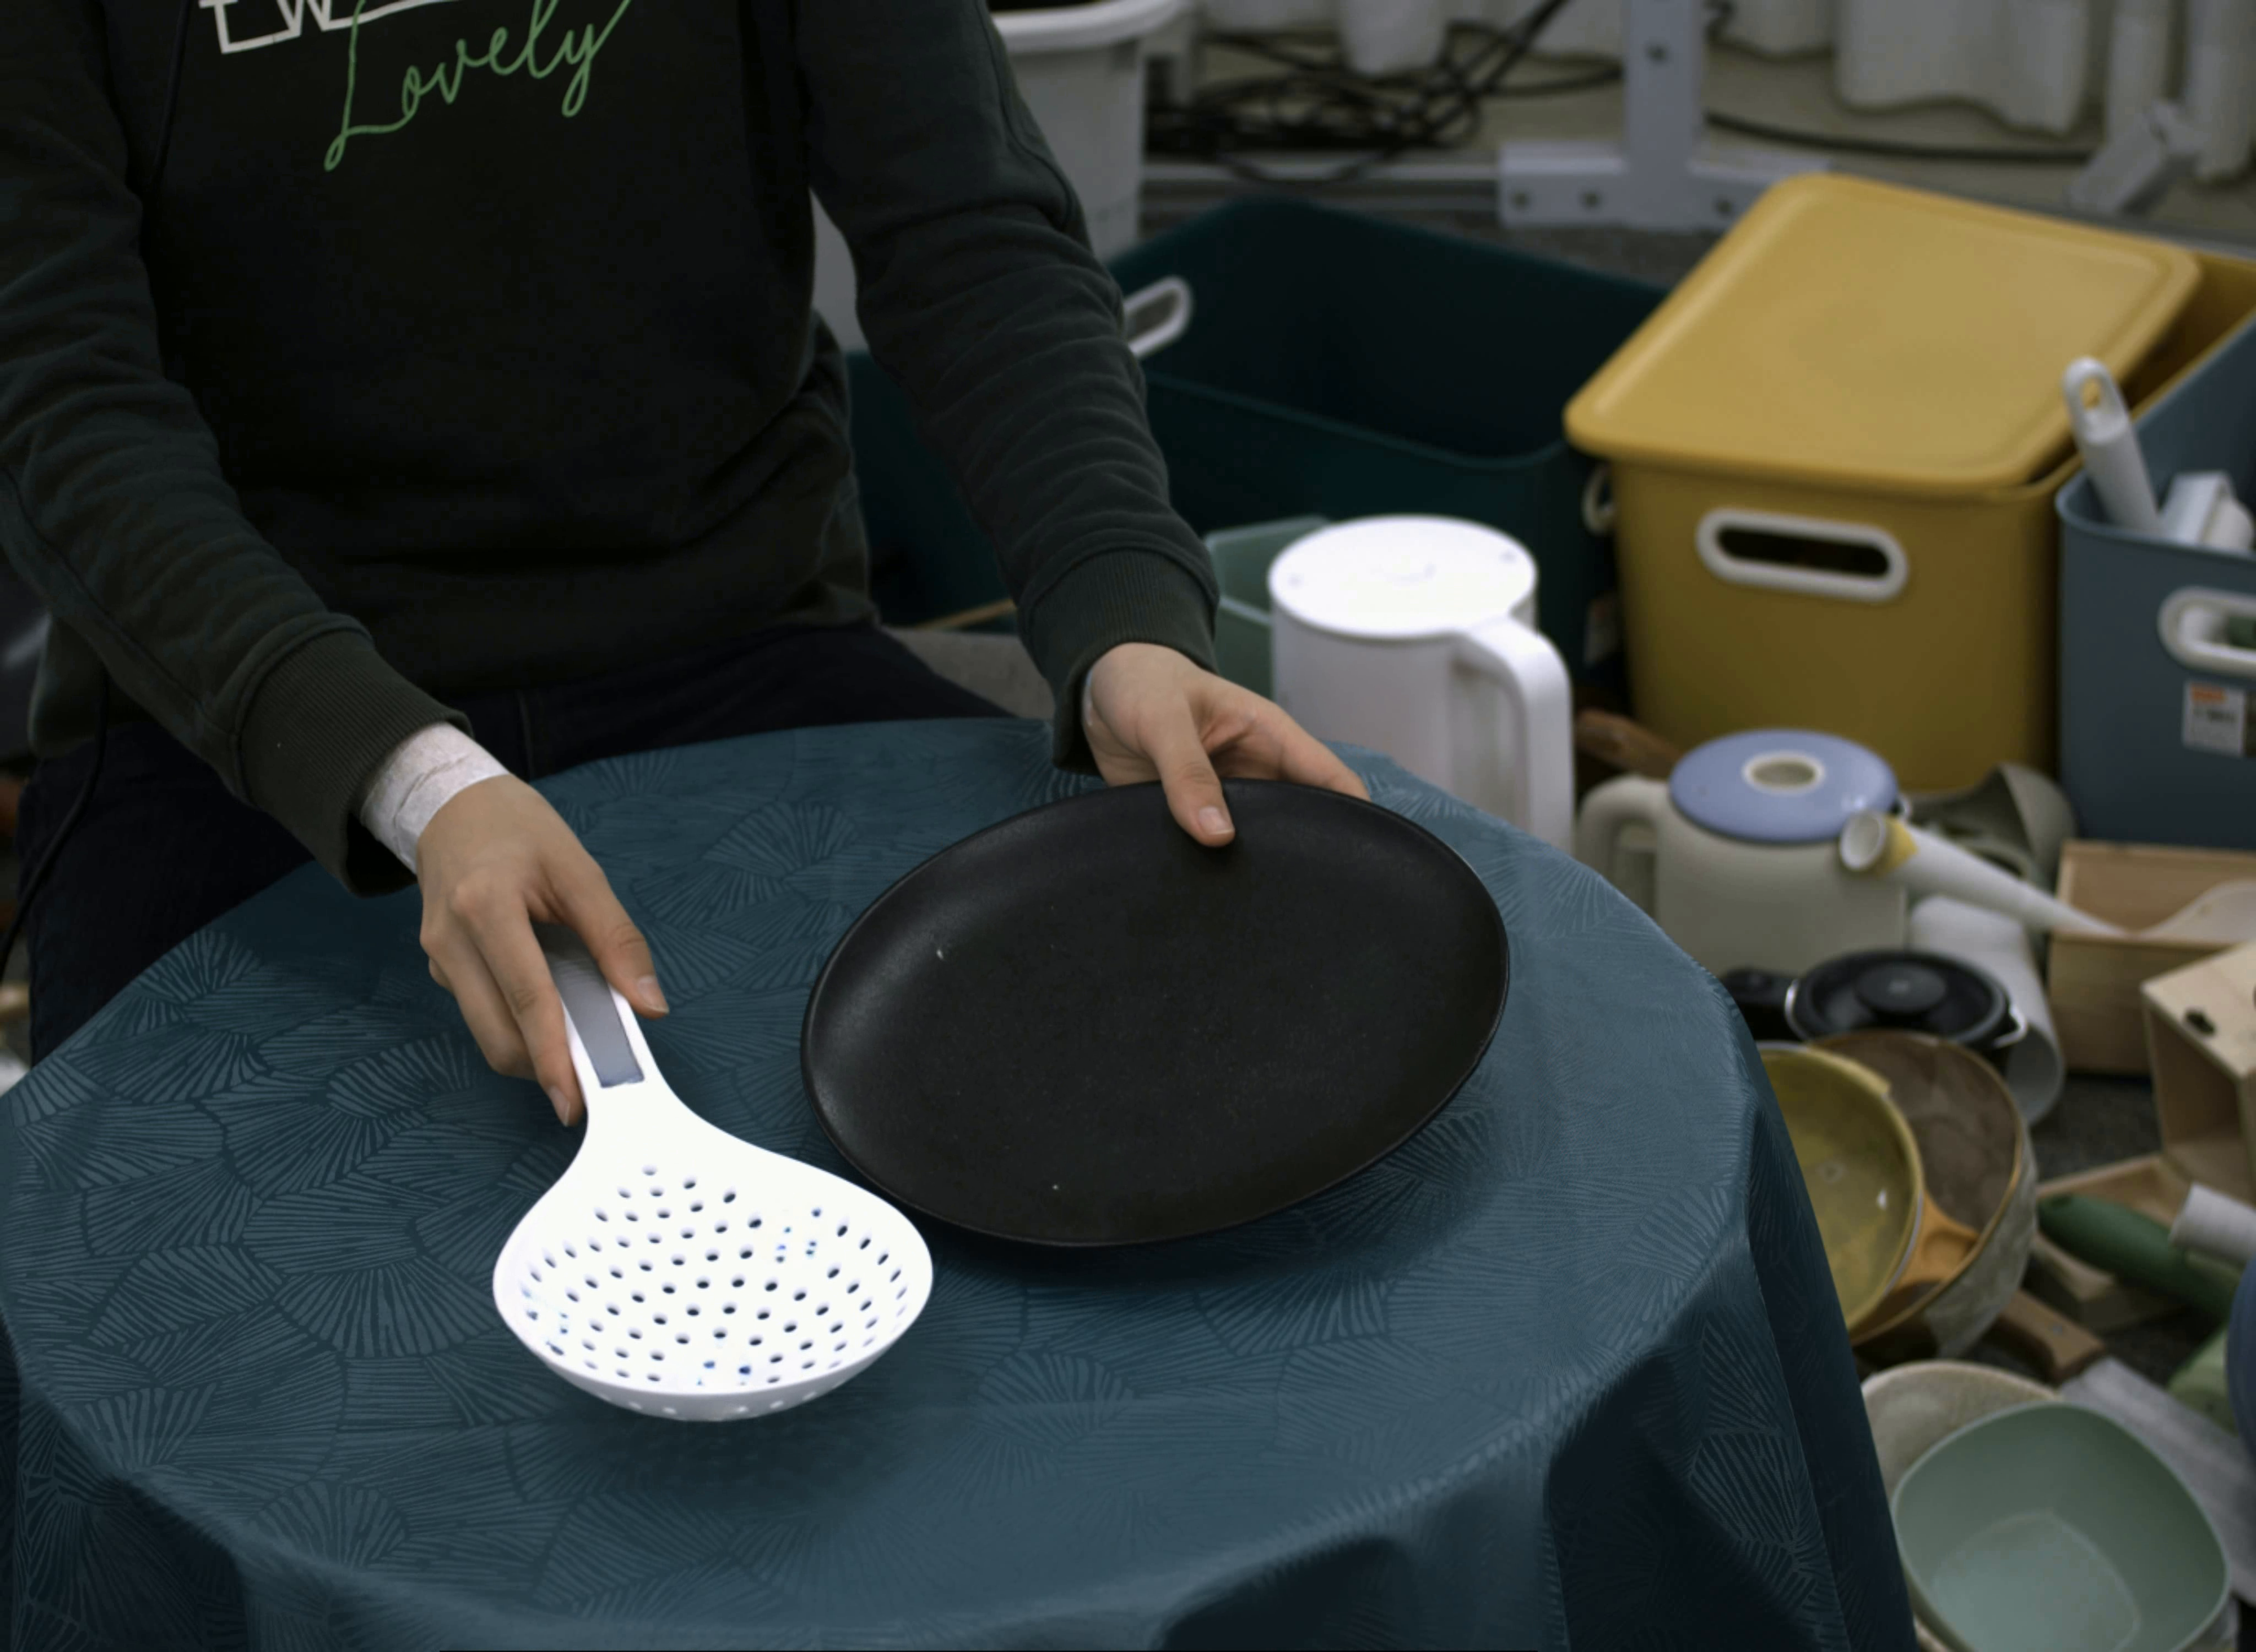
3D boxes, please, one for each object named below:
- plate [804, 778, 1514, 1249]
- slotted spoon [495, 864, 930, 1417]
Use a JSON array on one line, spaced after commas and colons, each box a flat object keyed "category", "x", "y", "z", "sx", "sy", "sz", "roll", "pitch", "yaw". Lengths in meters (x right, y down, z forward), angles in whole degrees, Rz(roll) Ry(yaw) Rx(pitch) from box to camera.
[{"category": "plate", "x": 0.011, "y": 0.066, "z": 1.897, "sx": 0.243, "sy": 0.023, "sz": 0.249, "roll": -7, "pitch": 36, "yaw": 5}, {"category": "slotted spoon", "x": -0.161, "y": 0.097, "z": 1.838, "sx": 0.136, "sy": 0.045, "sz": 0.354, "roll": -6, "pitch": 32, "yaw": -16}]
